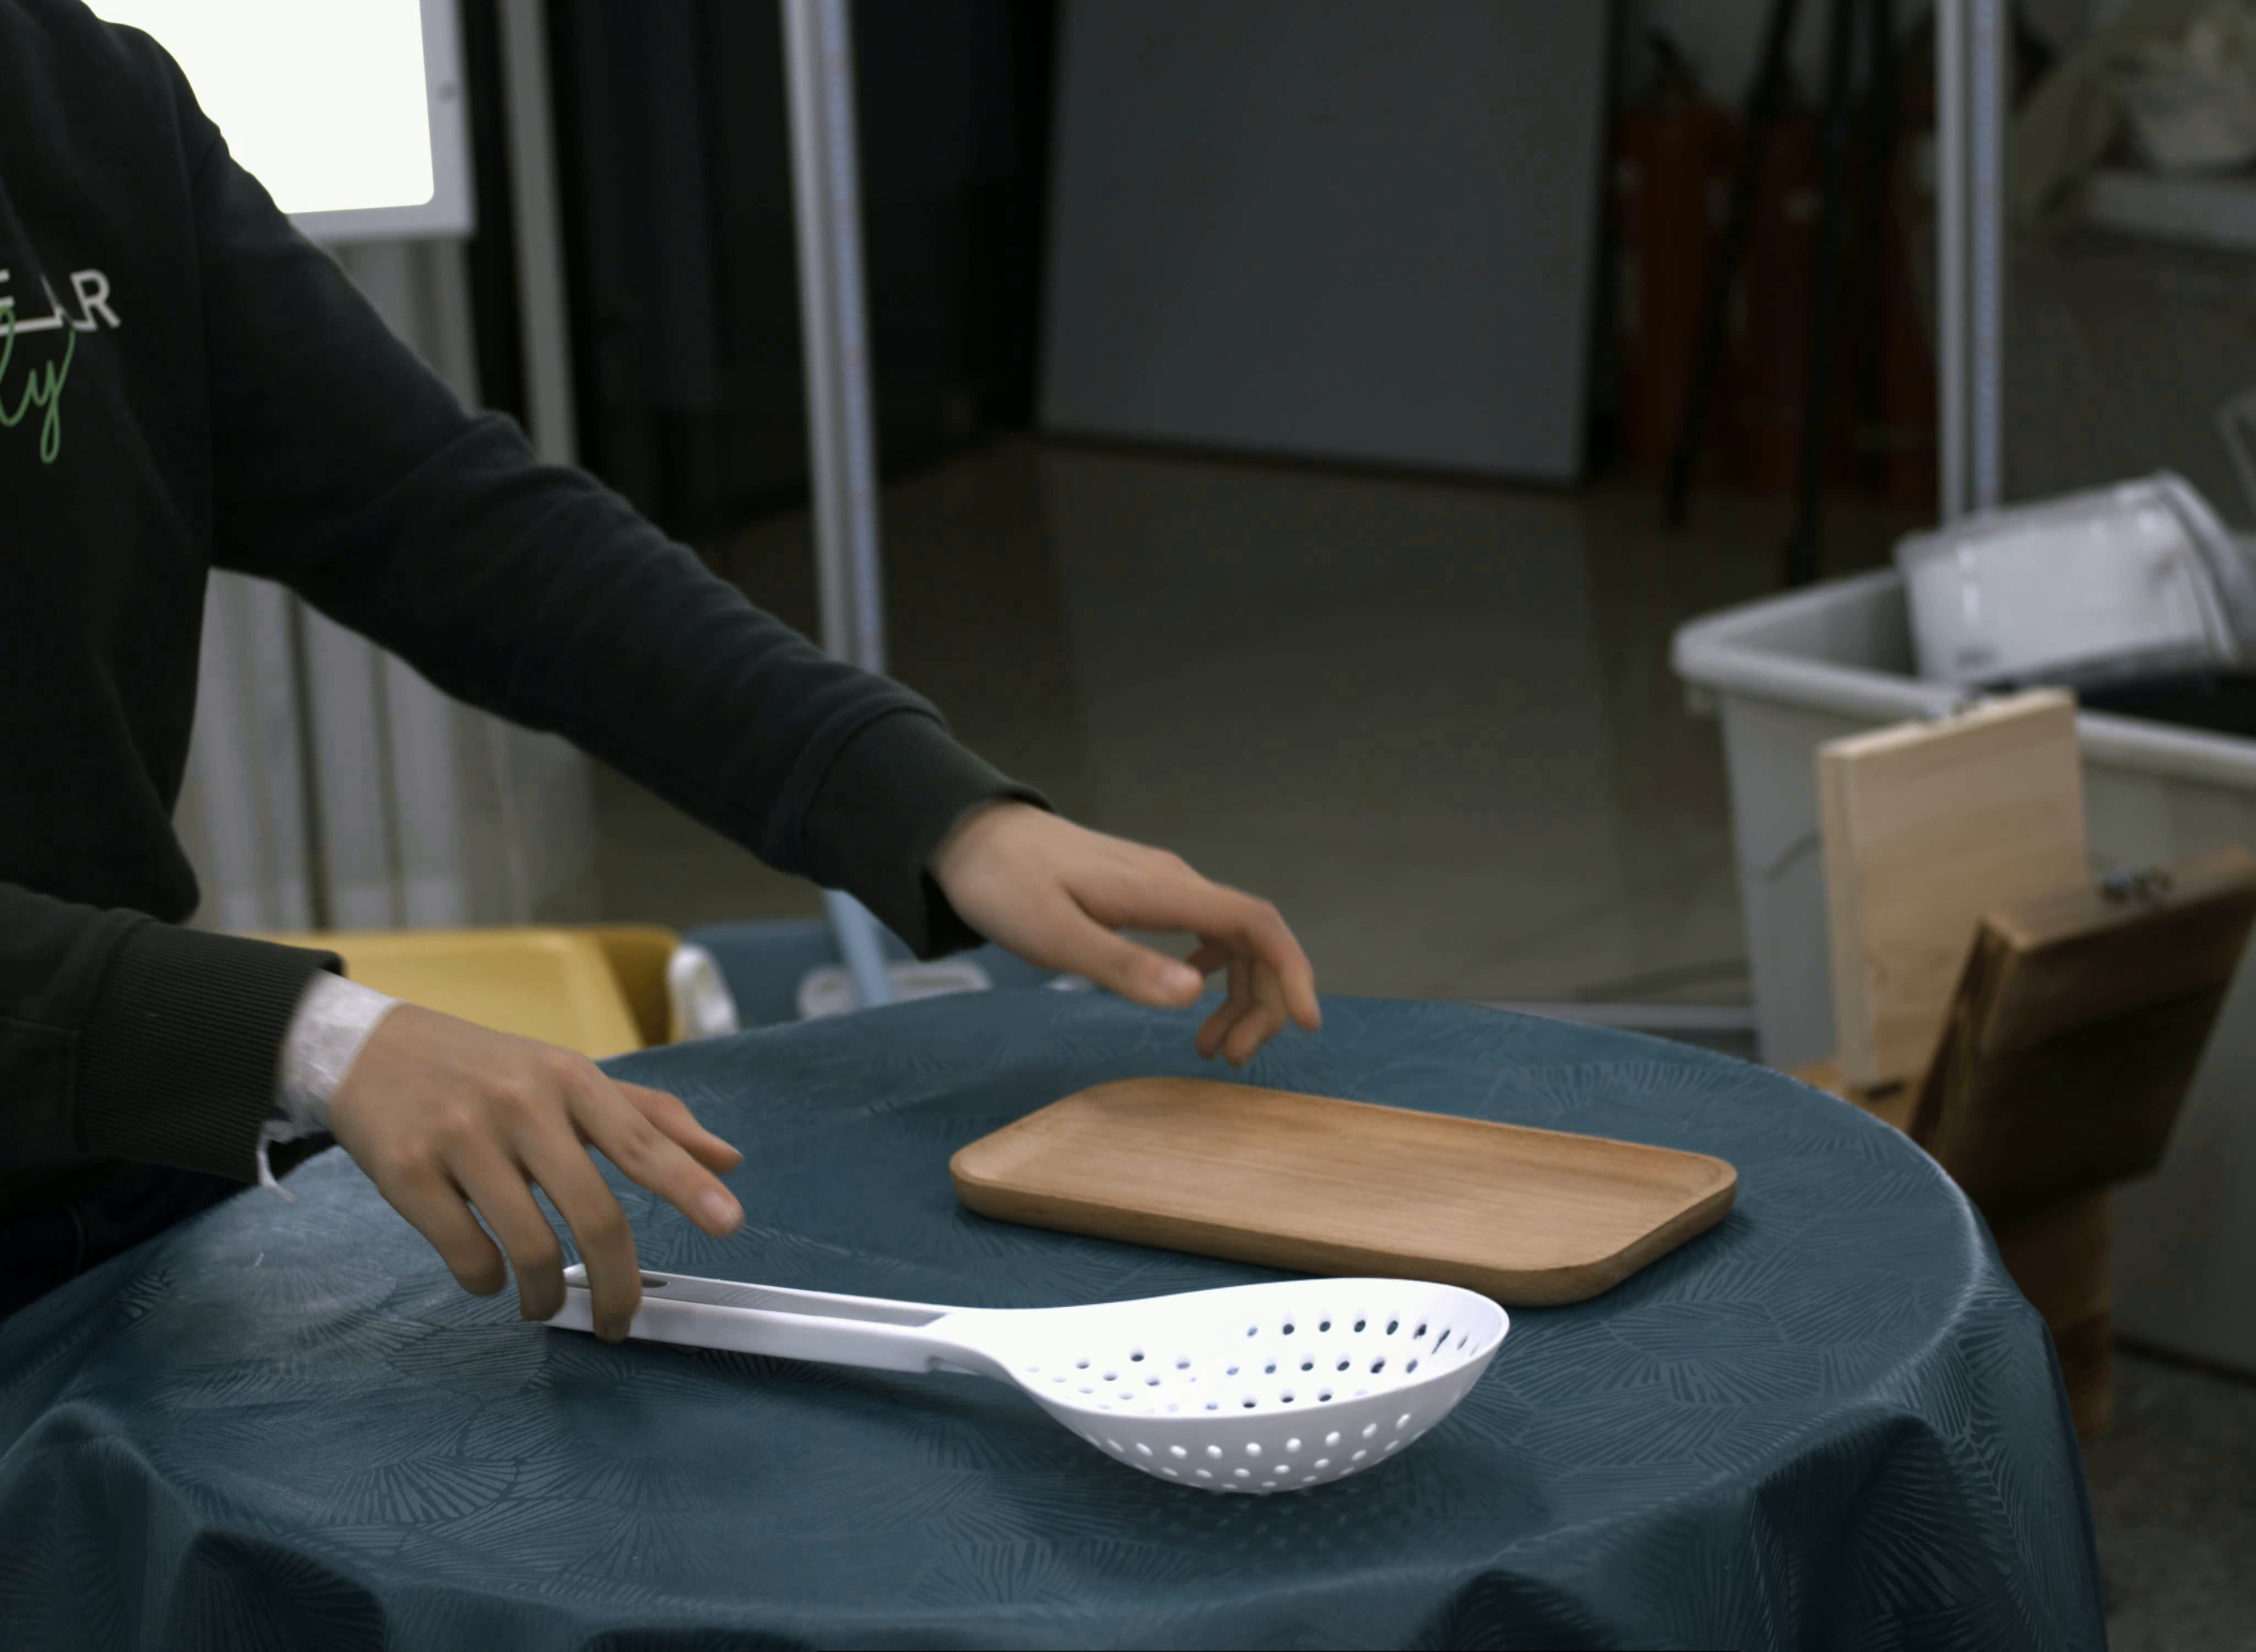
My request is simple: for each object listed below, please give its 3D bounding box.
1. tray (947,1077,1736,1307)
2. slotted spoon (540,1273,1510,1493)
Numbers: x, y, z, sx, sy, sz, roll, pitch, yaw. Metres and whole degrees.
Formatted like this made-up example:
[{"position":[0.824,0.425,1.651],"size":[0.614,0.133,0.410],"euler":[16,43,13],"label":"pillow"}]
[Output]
[{"position":[0.067,0.117,1.736],"size":[0.252,0.023,0.128],"euler":[5,15,36],"label":"tray"},{"position":[-0.042,0.150,1.571],"size":[0.352,0.046,0.133],"euler":[6,15,39],"label":"slotted spoon"}]
